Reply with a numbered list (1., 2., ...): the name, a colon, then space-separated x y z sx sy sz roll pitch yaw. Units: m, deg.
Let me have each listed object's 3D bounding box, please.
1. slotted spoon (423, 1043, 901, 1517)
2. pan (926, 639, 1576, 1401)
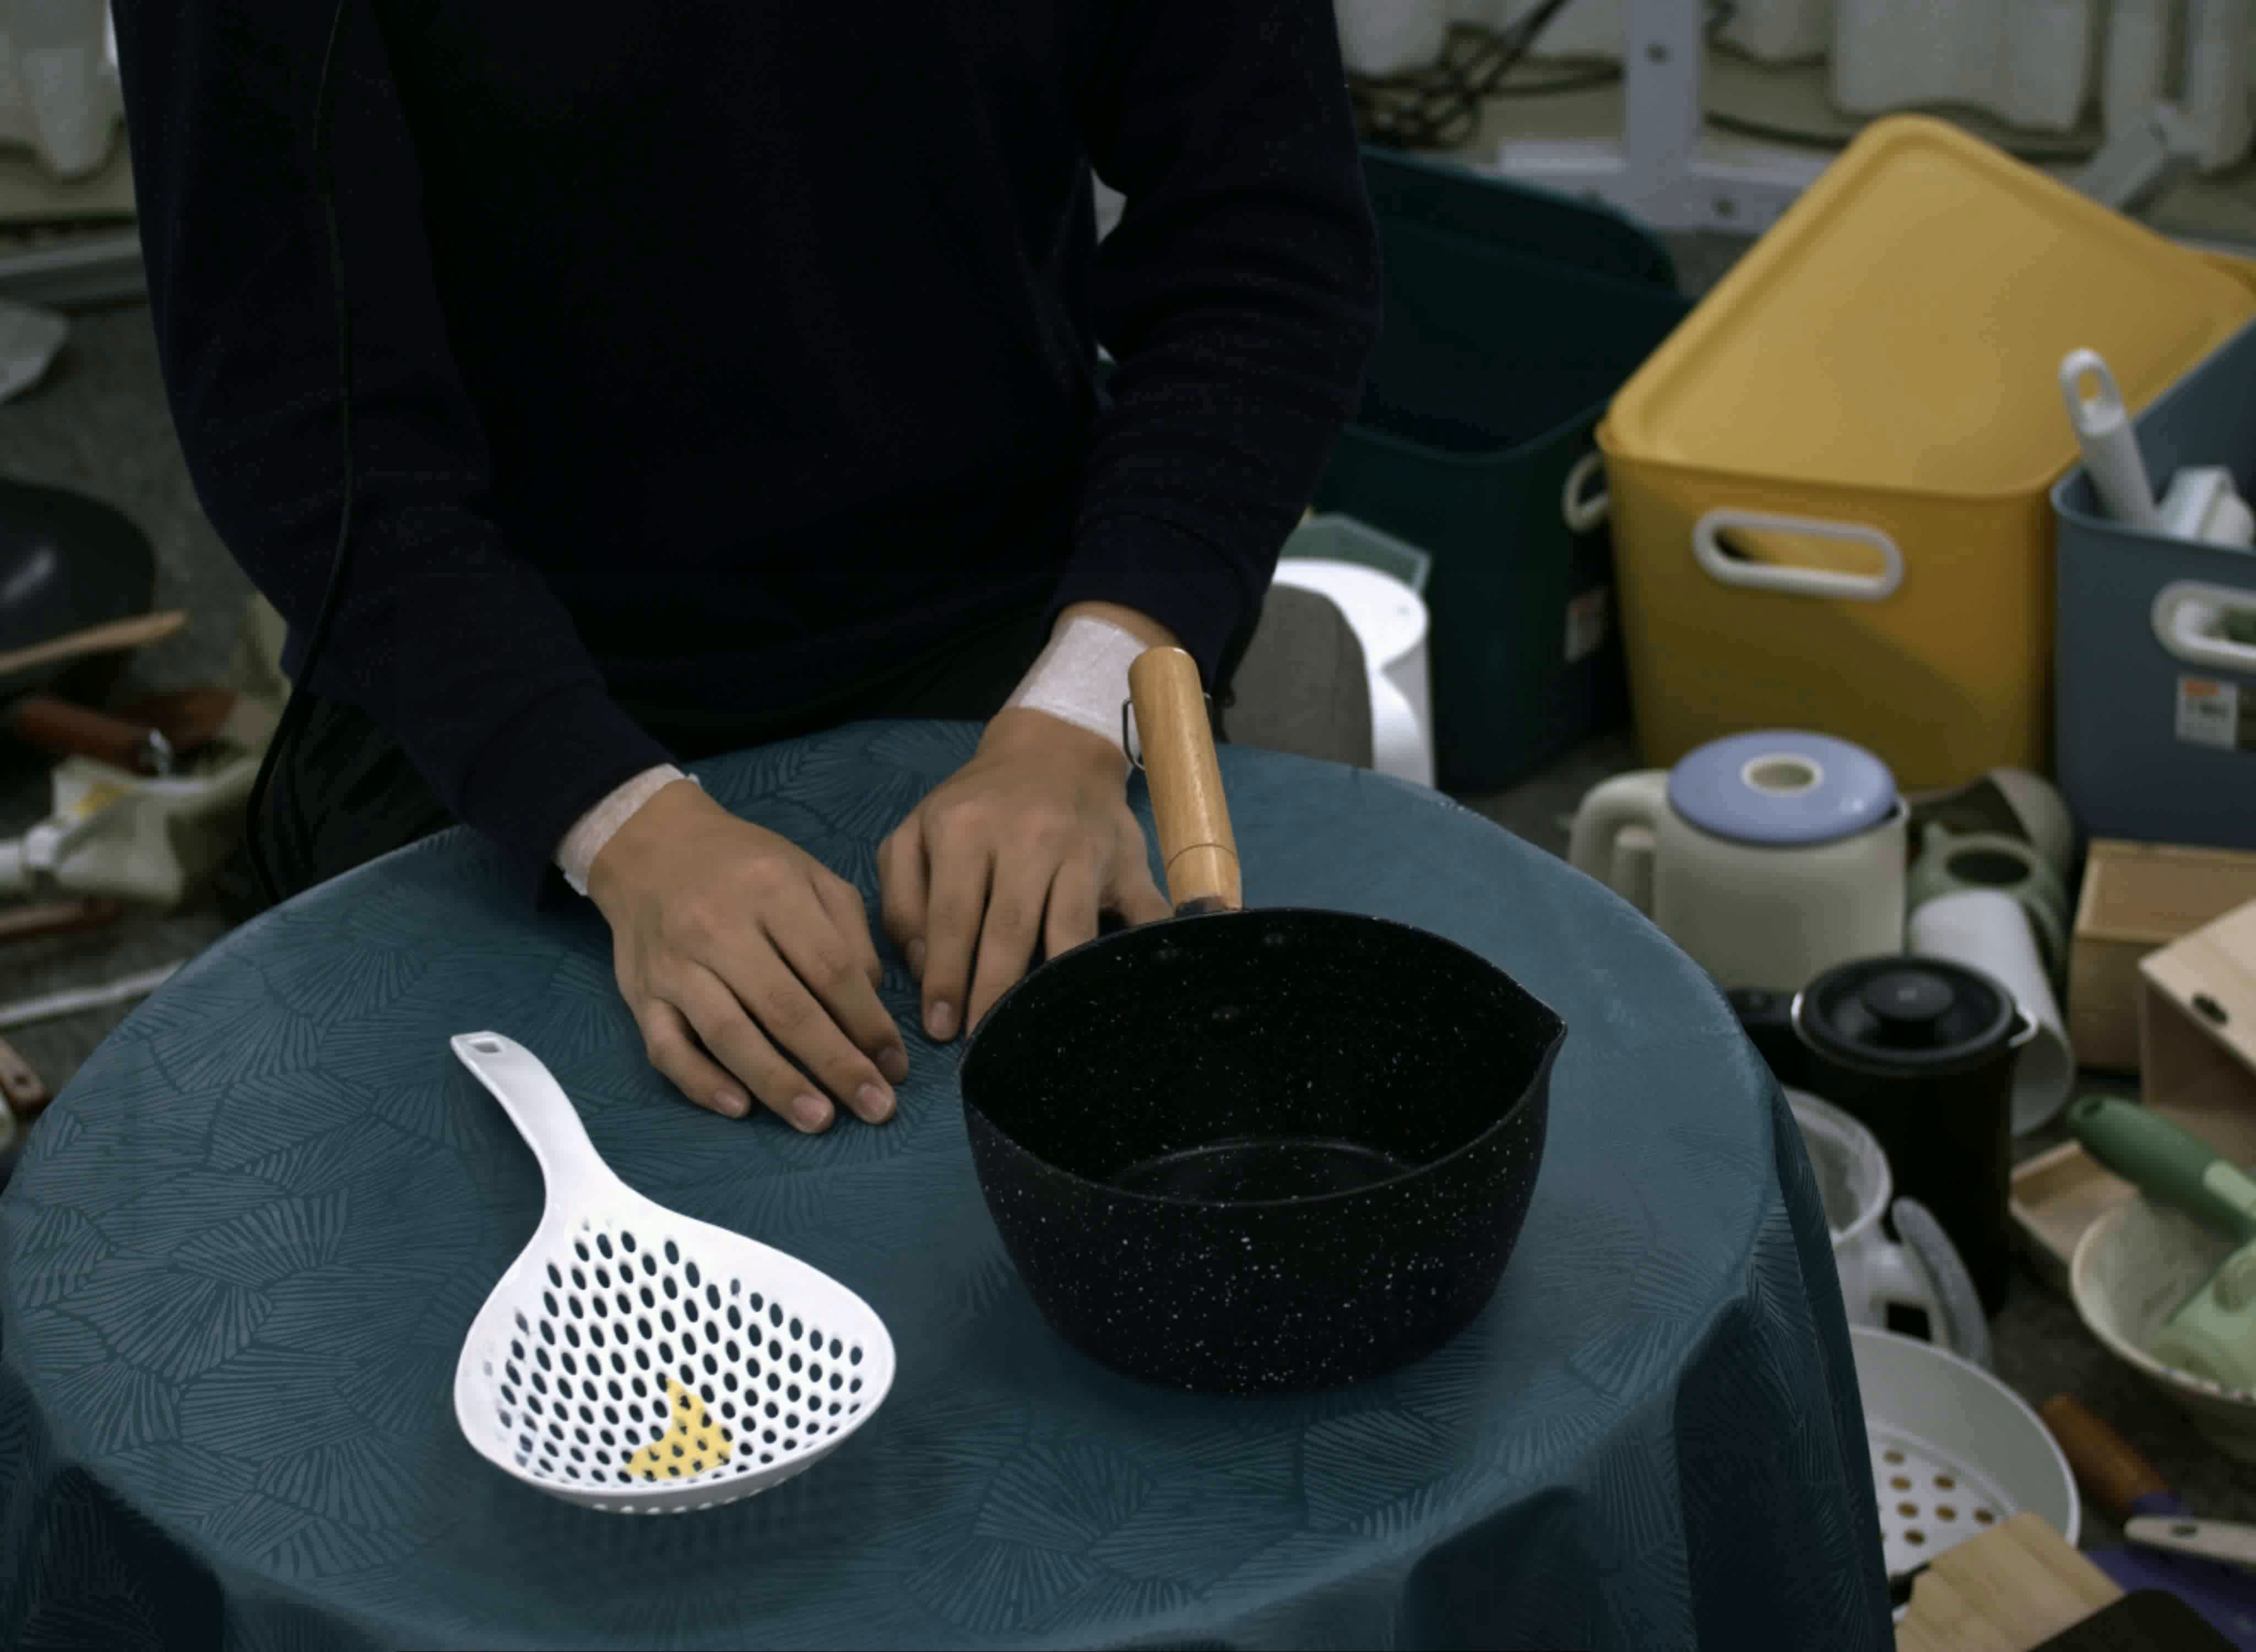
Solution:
1. slotted spoon: -0.174 0.133 1.811 0.137 0.050 0.351 -13 31 -16
2. pan: 0.031 0.060 1.861 0.207 0.107 0.347 -7 29 -5
